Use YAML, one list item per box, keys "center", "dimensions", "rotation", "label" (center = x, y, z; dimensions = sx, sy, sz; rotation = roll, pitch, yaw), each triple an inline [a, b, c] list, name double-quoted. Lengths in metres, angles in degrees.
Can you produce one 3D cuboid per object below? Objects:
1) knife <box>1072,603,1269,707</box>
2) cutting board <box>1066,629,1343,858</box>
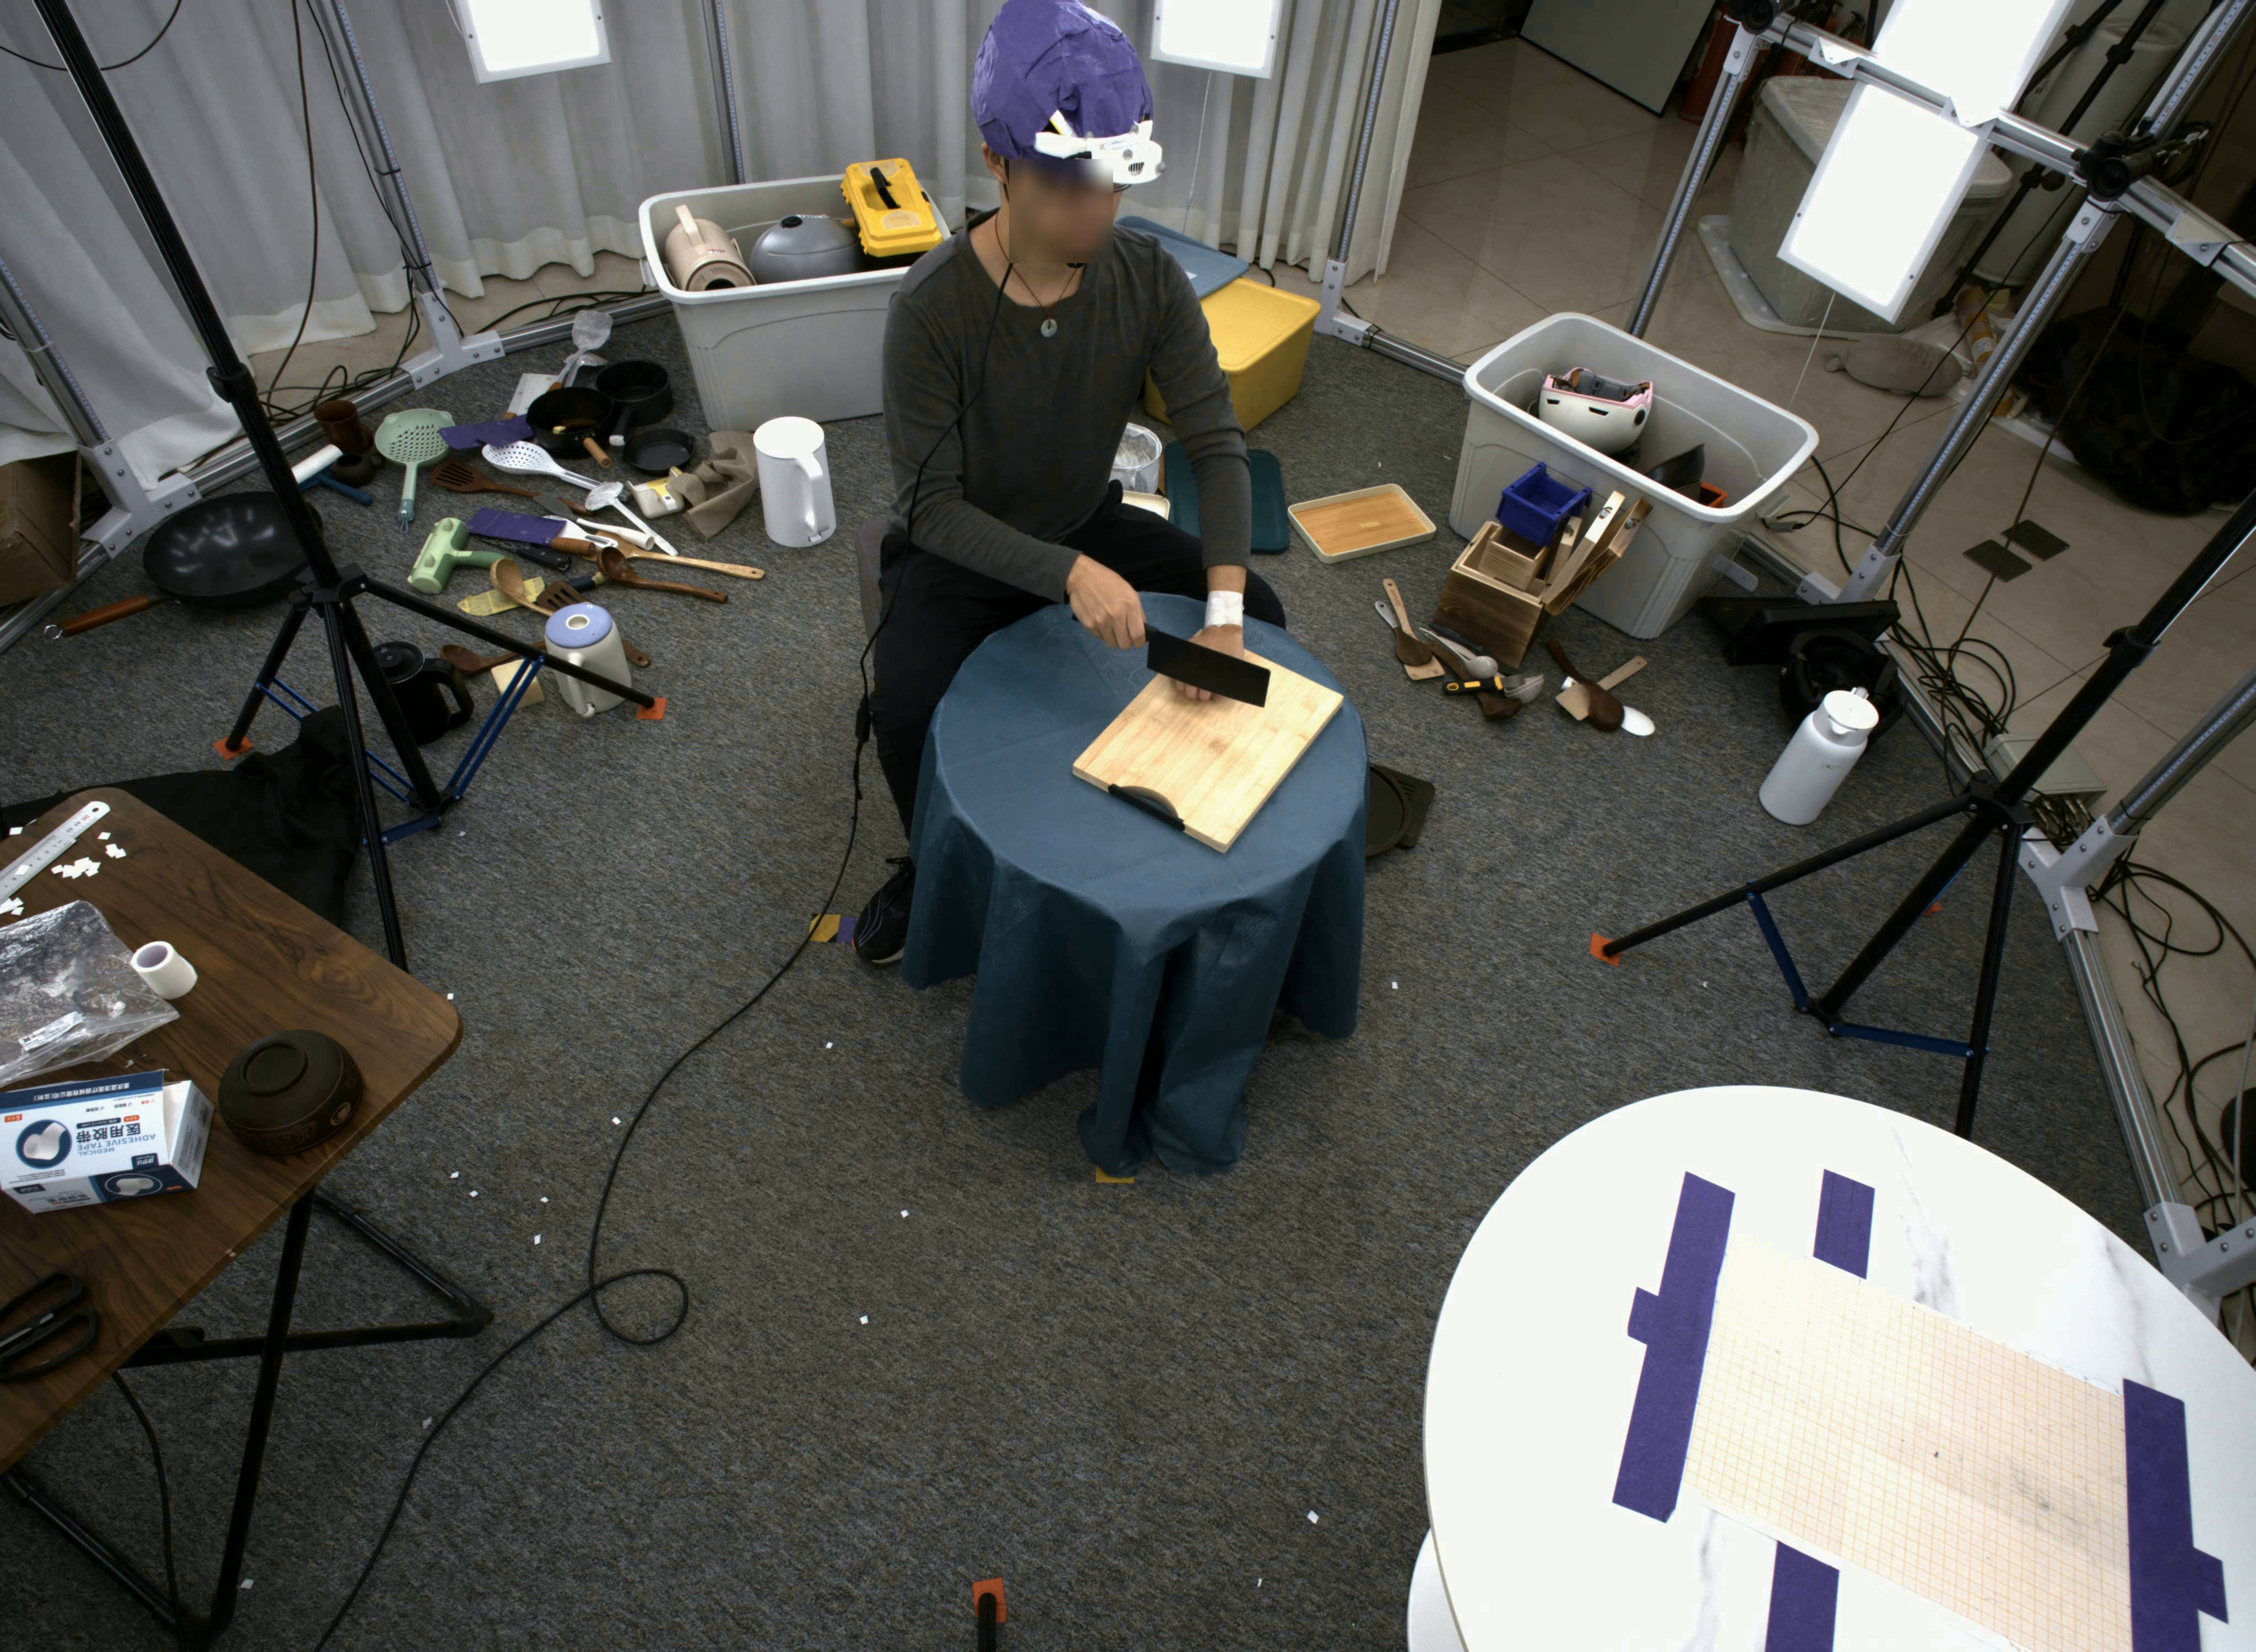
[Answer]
- center: [0.055, -0.237, 1.752]
  dimensions: [0.305, 0.079, 0.021]
  rotation: [26, 43, 18]
  label: "knife"
- center: [0.113, -0.125, 1.773]
  dimensions: [0.253, 0.023, 0.354]
  rotation: [27, 53, 19]
  label: "cutting board"
